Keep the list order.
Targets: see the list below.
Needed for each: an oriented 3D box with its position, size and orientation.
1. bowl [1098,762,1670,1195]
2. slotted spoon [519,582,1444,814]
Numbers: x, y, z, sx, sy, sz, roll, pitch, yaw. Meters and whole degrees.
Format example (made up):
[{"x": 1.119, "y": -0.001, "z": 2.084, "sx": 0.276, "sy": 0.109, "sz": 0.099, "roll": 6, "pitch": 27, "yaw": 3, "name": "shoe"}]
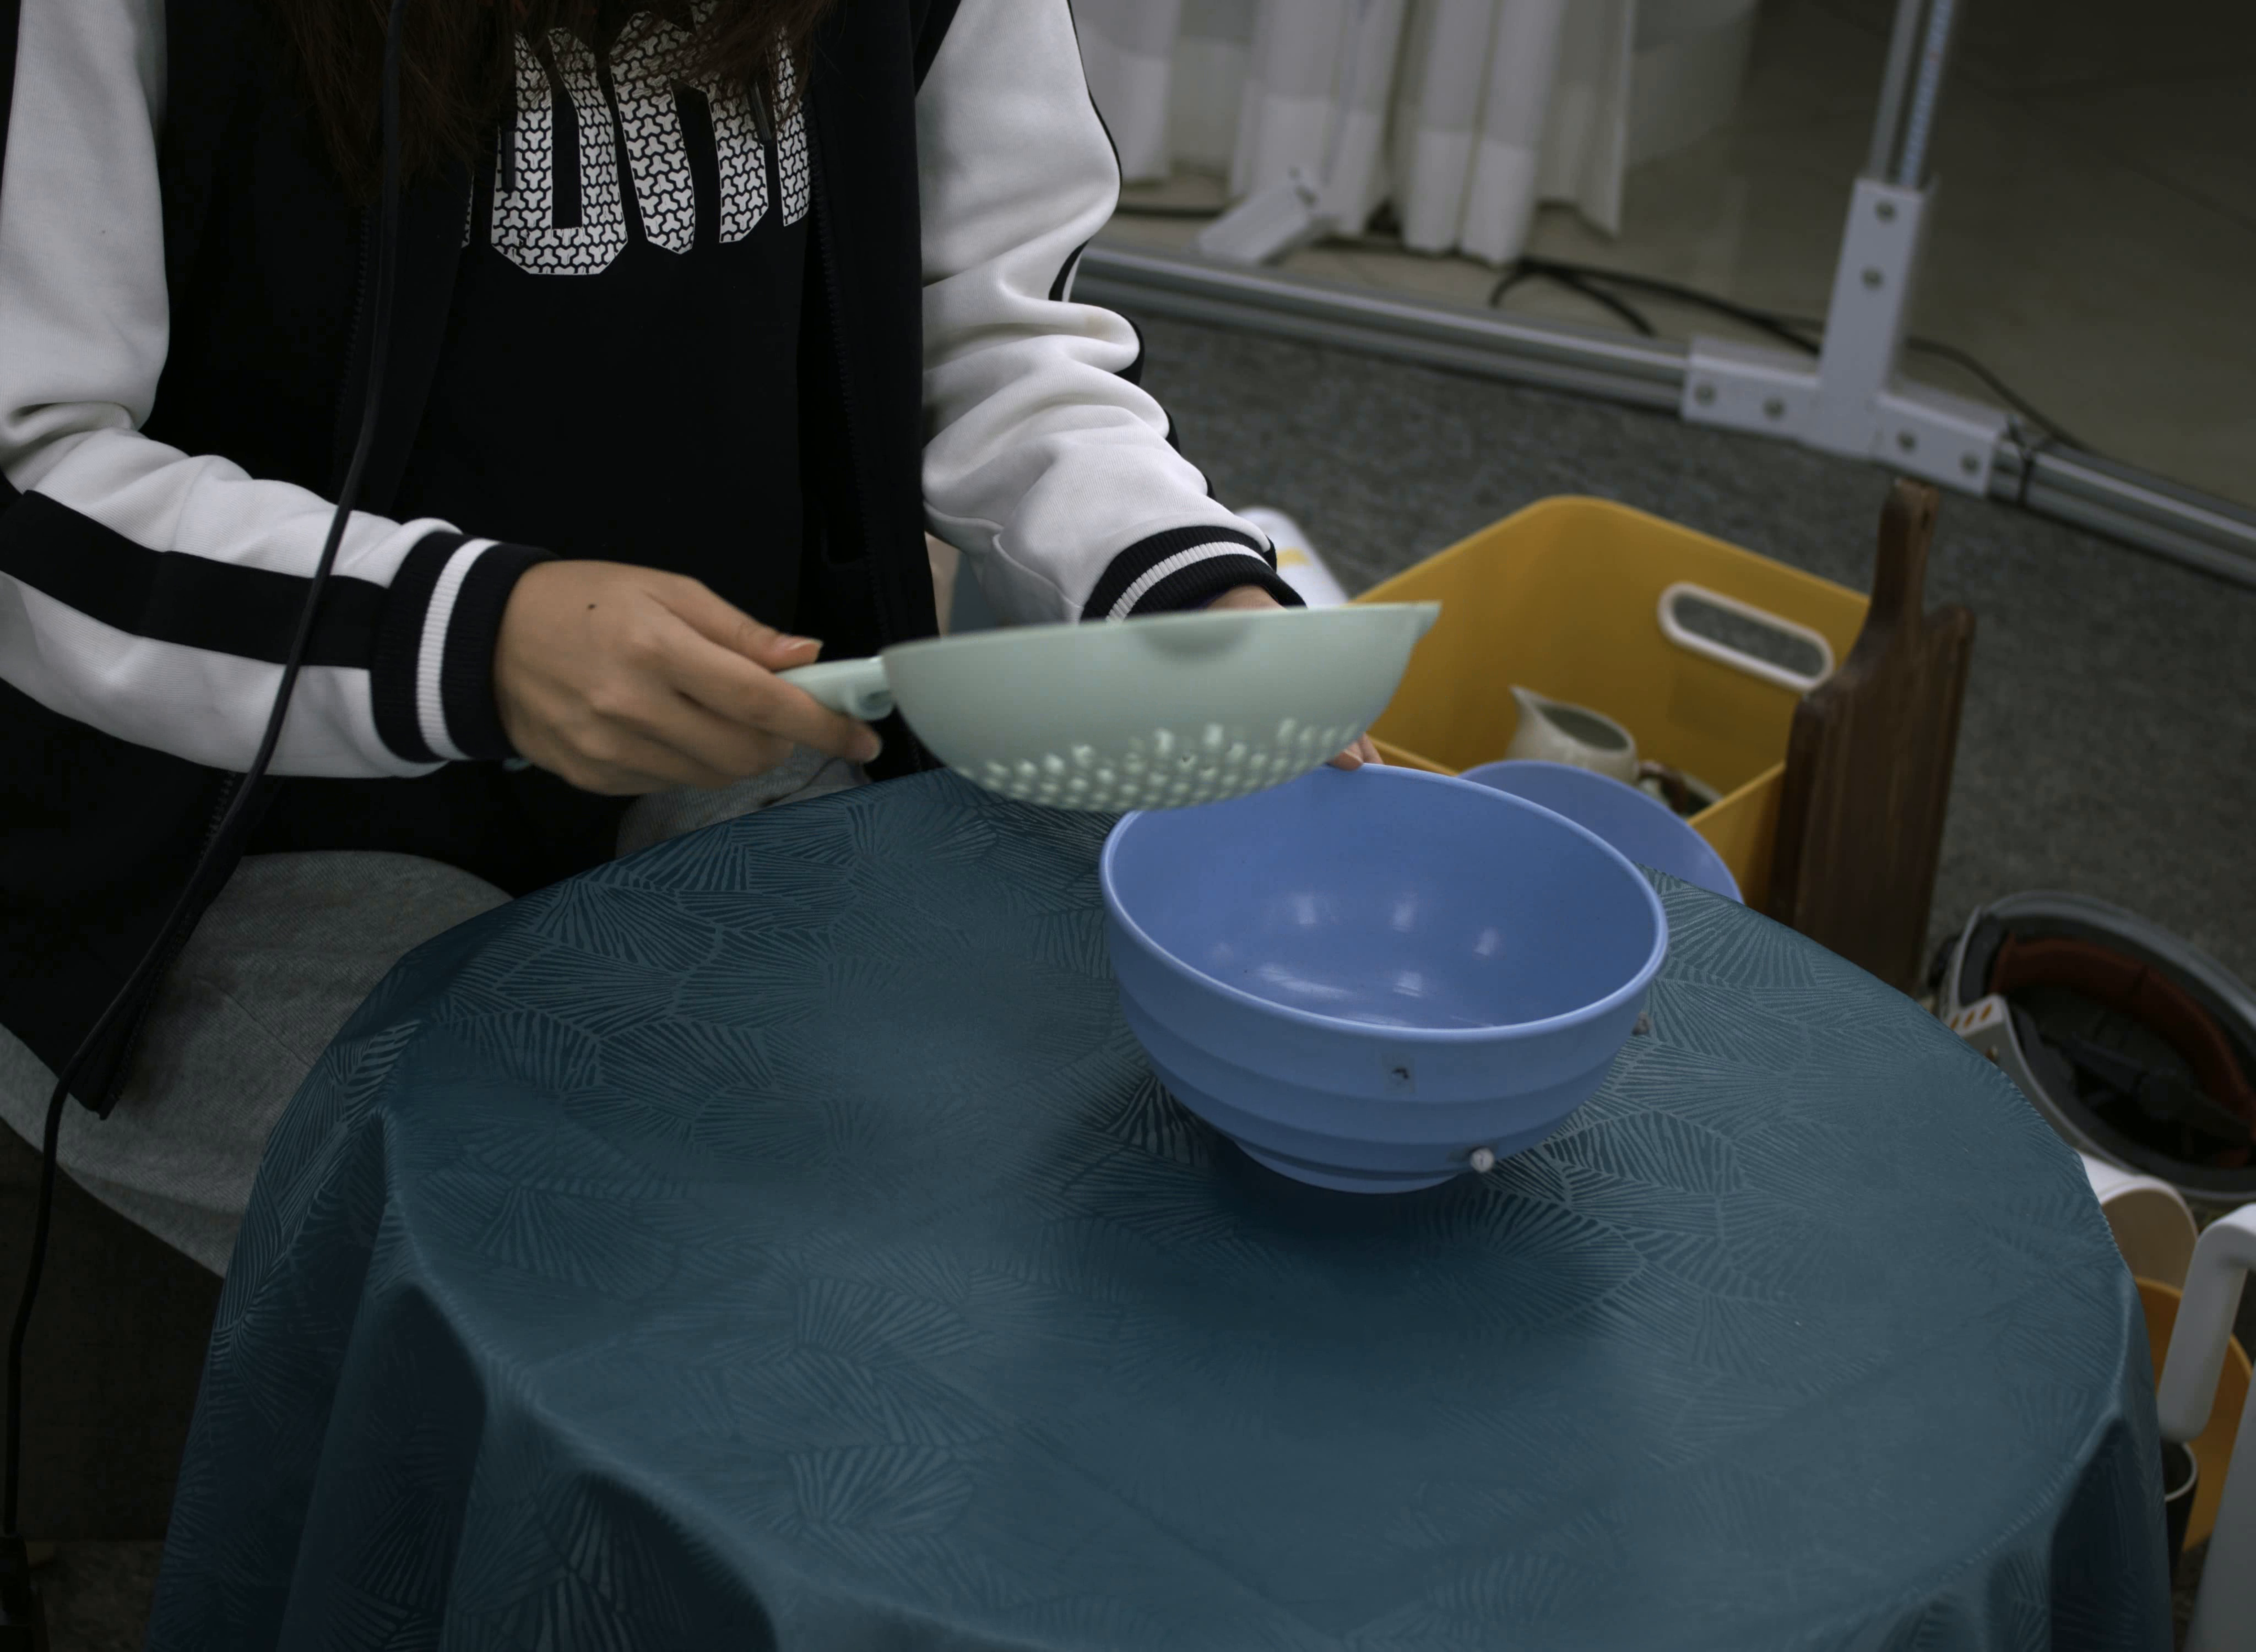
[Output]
[{"x": 0.083, "y": 0.064, "z": 1.834, "sx": 0.196, "sy": 0.095, "sz": 0.198, "roll": 5, "pitch": 27, "yaw": -3, "name": "bowl"}, {"x": -0.067, "y": -0.042, "z": 1.730, "sx": 0.360, "sy": 0.075, "sz": 0.168, "roll": 3, "pitch": 7, "yaw": 37, "name": "slotted spoon"}]
